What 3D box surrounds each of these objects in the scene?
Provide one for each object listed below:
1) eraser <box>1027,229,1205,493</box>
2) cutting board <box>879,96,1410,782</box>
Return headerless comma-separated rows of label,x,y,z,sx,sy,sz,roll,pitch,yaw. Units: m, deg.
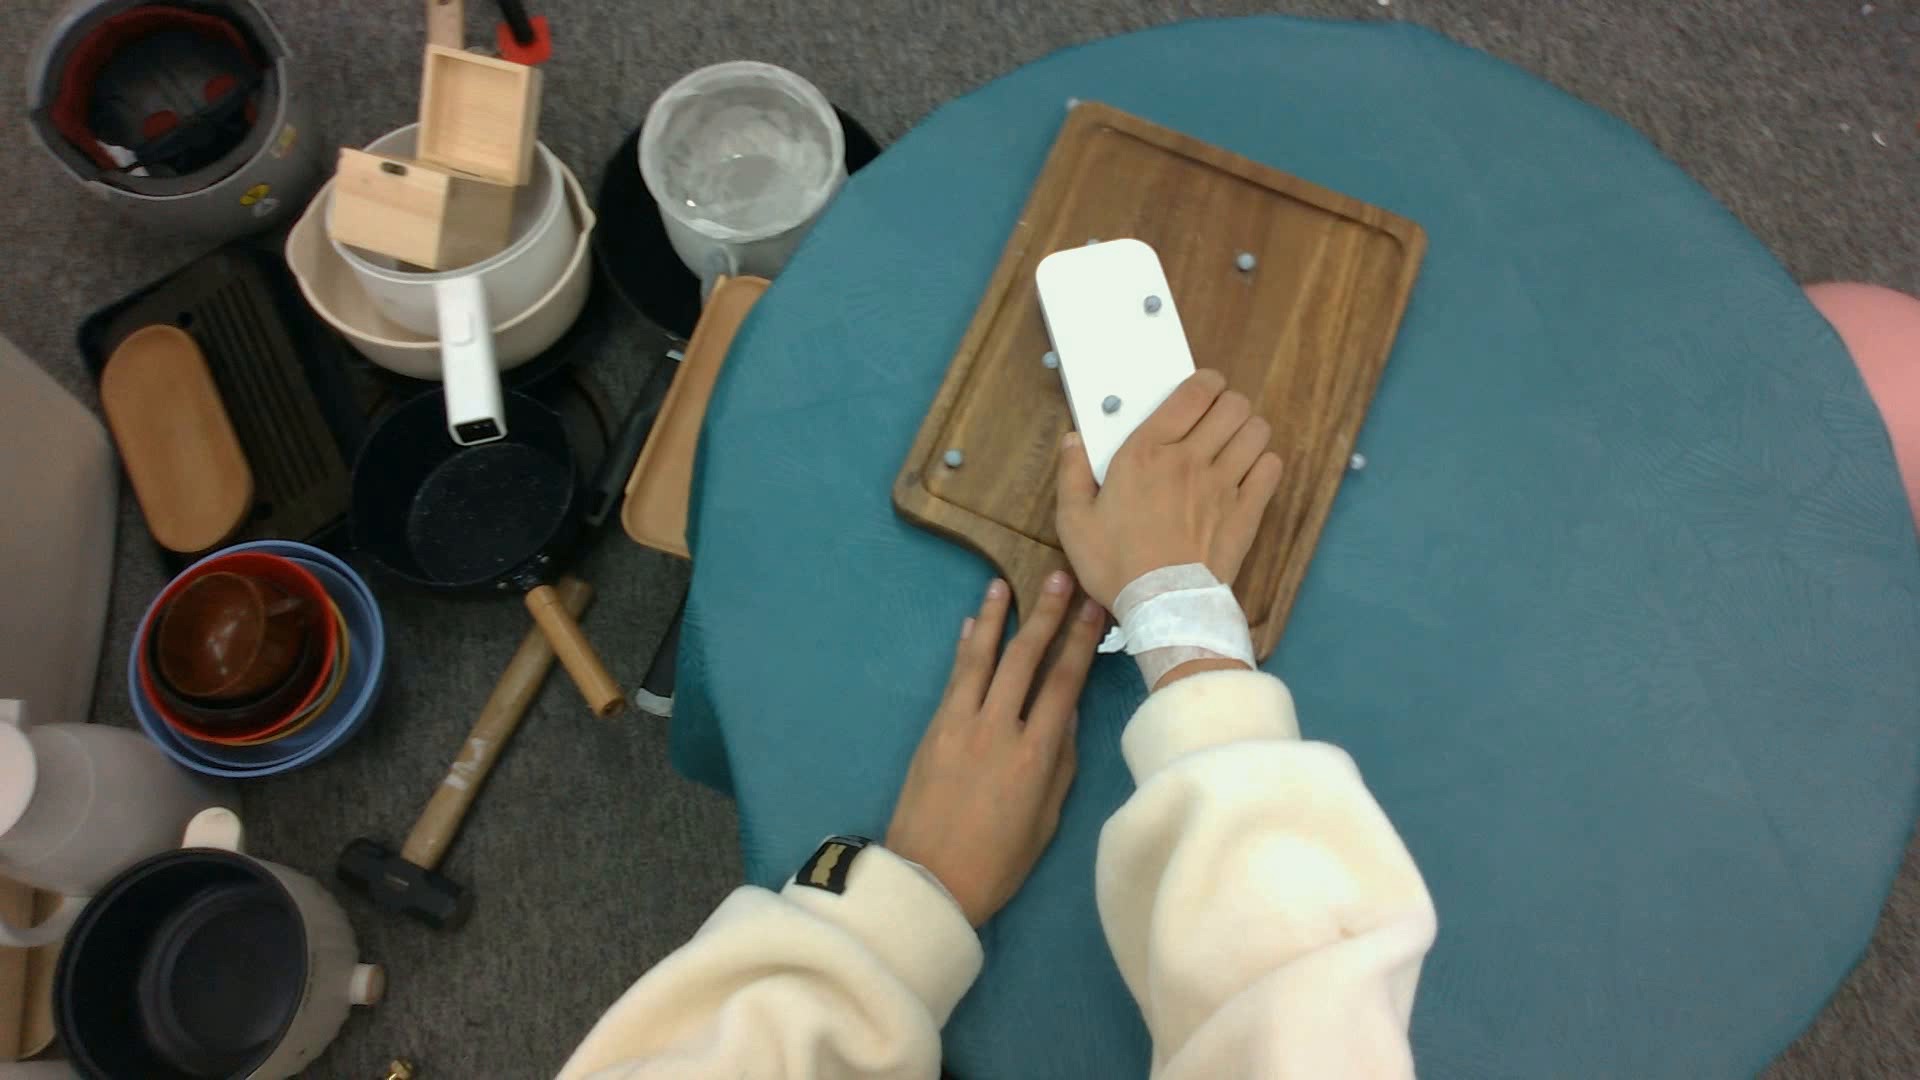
eraser,0.072,-0.087,0.664,0.063,0.034,0.131,-11,72,-5
cutting board,0.077,-0.048,0.672,0.201,0.023,0.353,22,72,6
